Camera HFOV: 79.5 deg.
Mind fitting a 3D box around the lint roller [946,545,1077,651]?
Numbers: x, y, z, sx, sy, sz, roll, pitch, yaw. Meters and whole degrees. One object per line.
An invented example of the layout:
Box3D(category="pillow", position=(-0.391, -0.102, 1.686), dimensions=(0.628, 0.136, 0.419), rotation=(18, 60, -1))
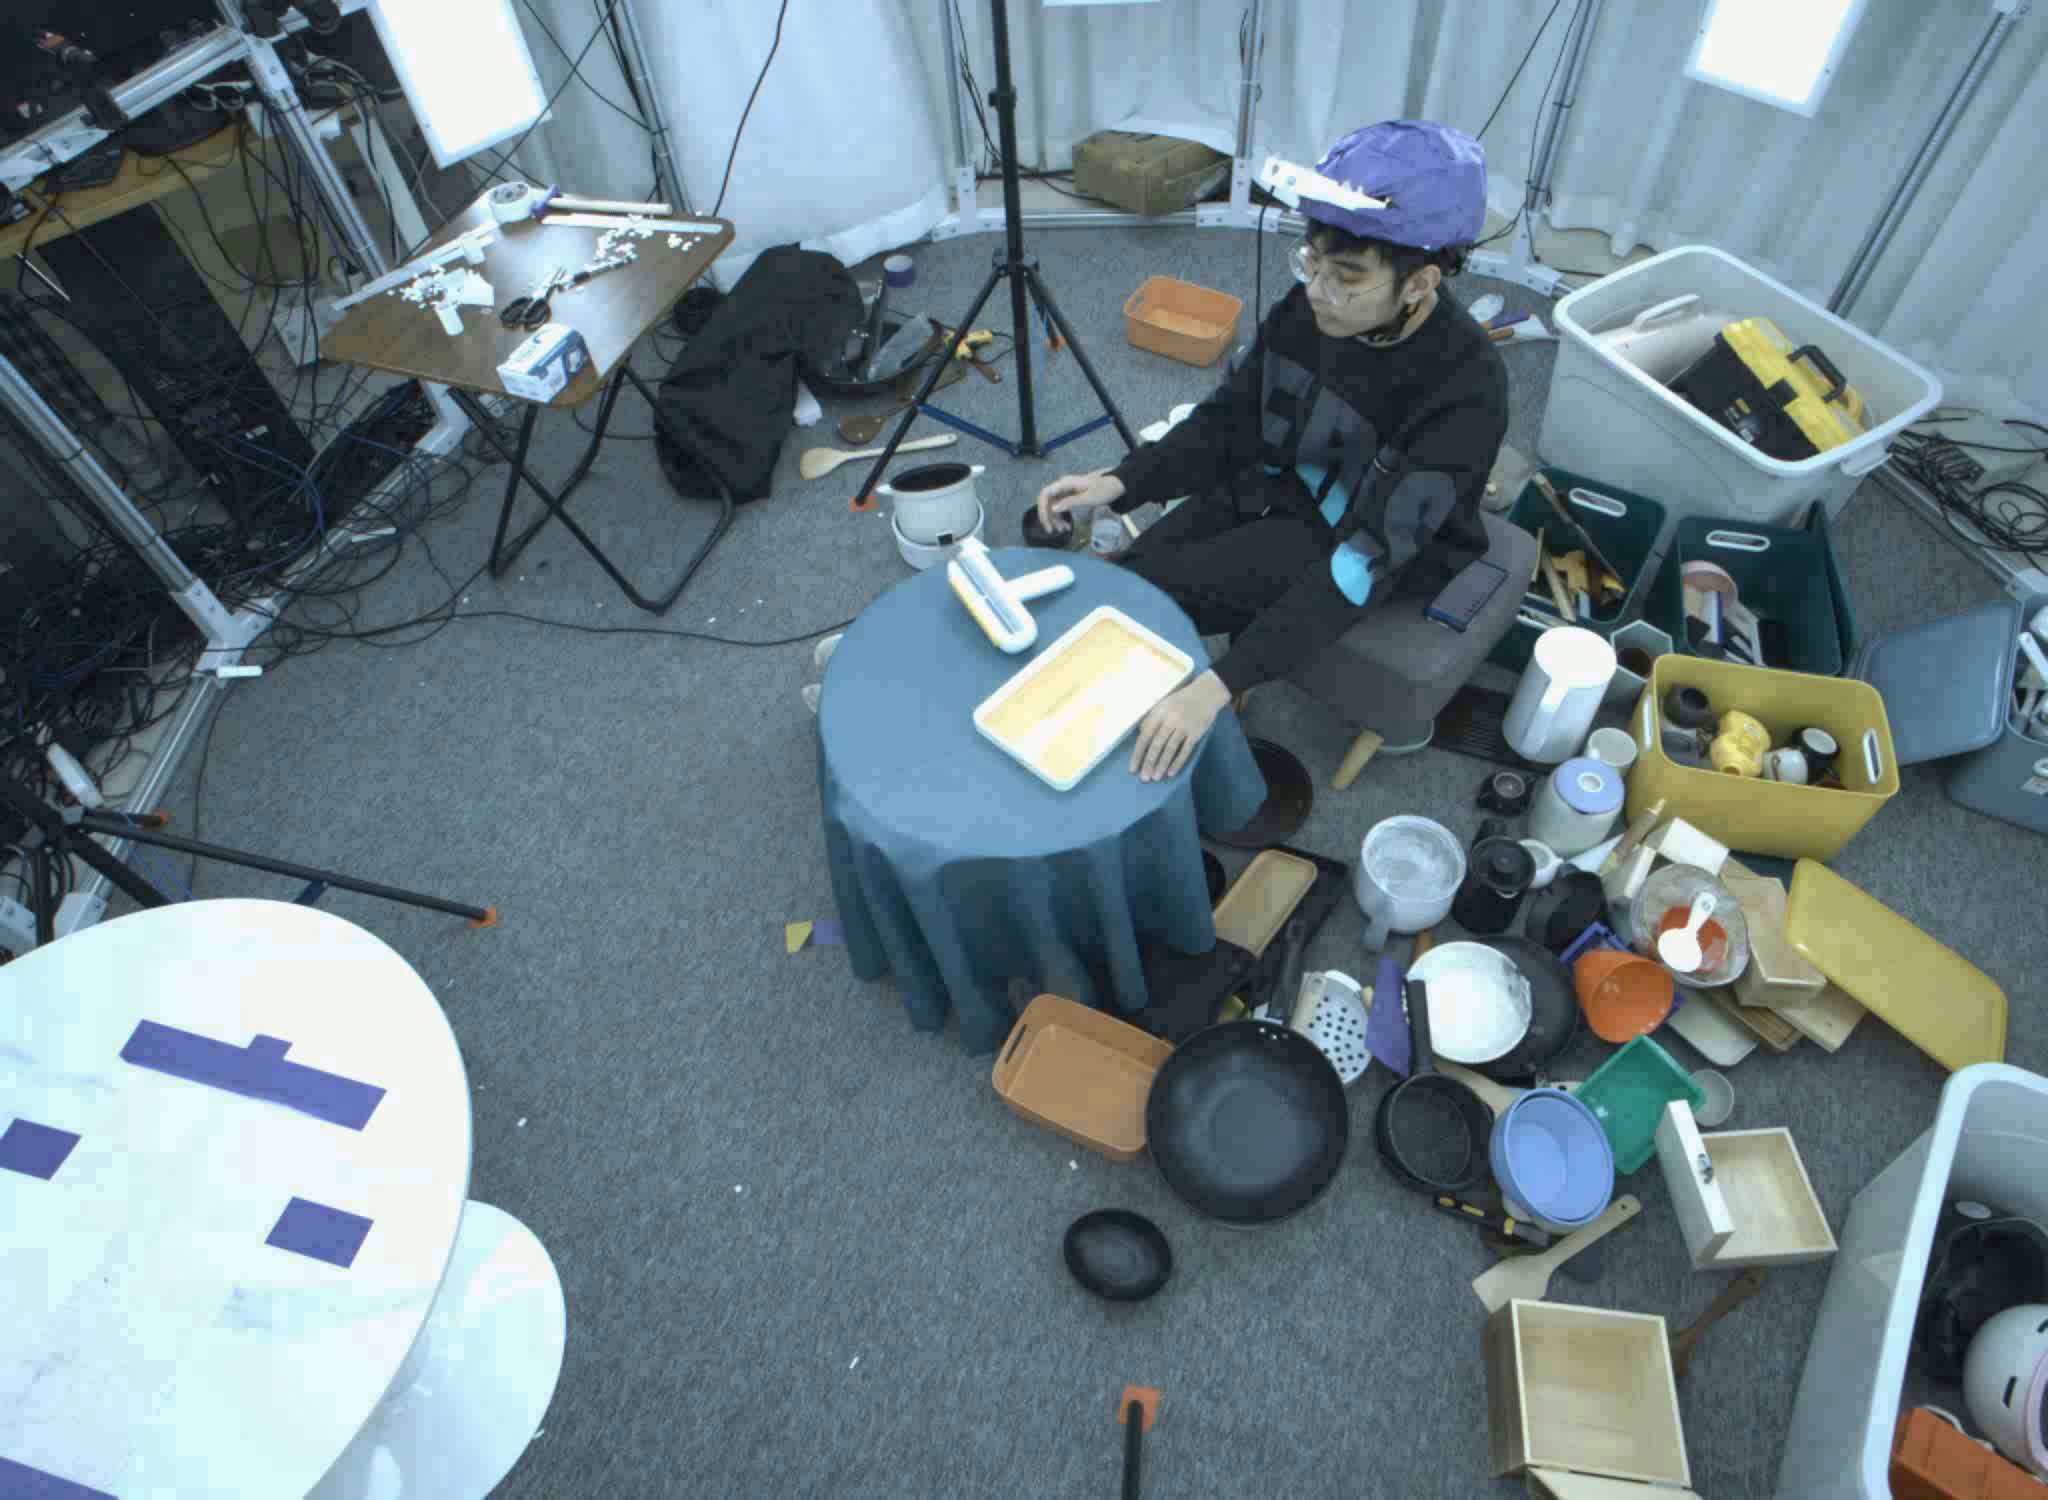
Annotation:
Box3D(category="lint roller", position=(-0.003, -0.255, 1.923), dimensions=(0.194, 0.075, 0.189), rotation=(-25, 63, -17))

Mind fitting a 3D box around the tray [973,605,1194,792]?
Box3D(category="tray", position=(0.090, -0.082, 1.822), dimensions=(0.188, 0.028, 0.302), rotation=(38, 64, 24))
